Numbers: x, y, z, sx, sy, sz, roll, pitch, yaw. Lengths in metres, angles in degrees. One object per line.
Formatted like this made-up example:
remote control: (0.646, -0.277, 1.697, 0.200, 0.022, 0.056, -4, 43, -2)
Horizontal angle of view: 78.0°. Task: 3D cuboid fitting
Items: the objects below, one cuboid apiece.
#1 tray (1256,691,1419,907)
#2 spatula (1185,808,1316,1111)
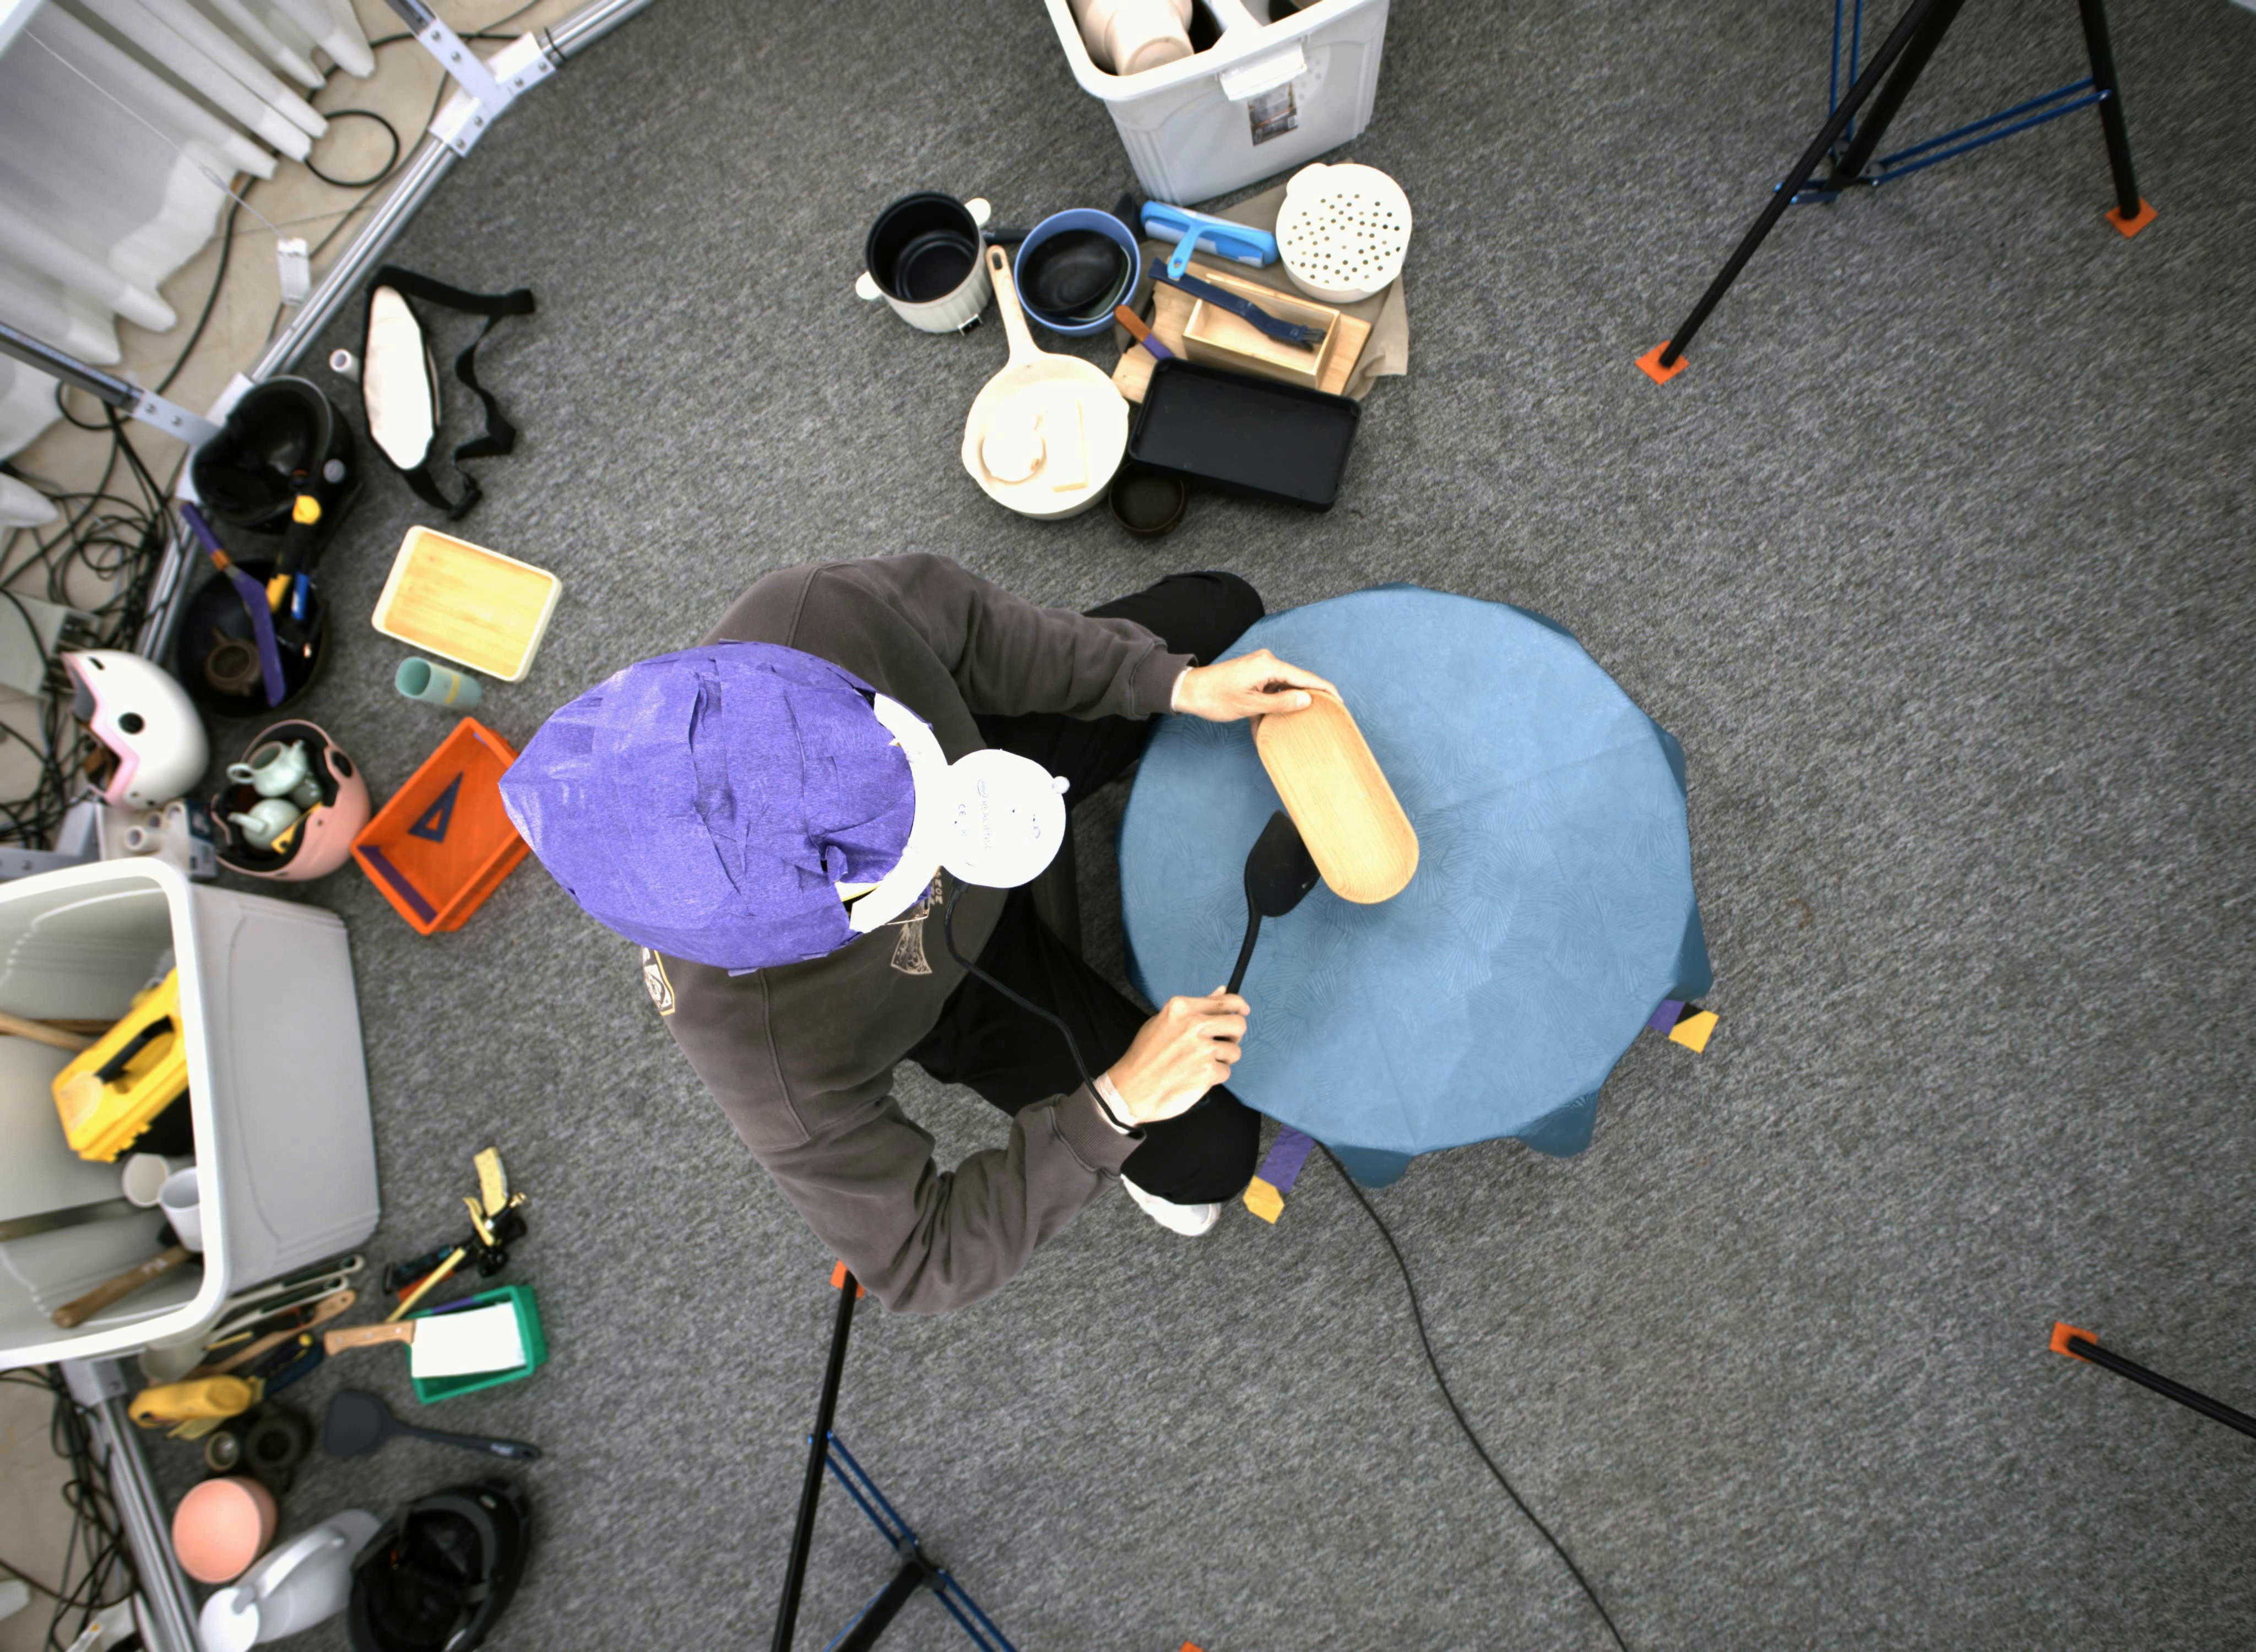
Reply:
tray: (0.208, -0.029, 1.374, 0.103, 0.020, 0.229, -30, 80, 17)
spatula: (0.110, 0.127, 1.298, 0.041, 0.101, 0.317, -12, 41, 35)
